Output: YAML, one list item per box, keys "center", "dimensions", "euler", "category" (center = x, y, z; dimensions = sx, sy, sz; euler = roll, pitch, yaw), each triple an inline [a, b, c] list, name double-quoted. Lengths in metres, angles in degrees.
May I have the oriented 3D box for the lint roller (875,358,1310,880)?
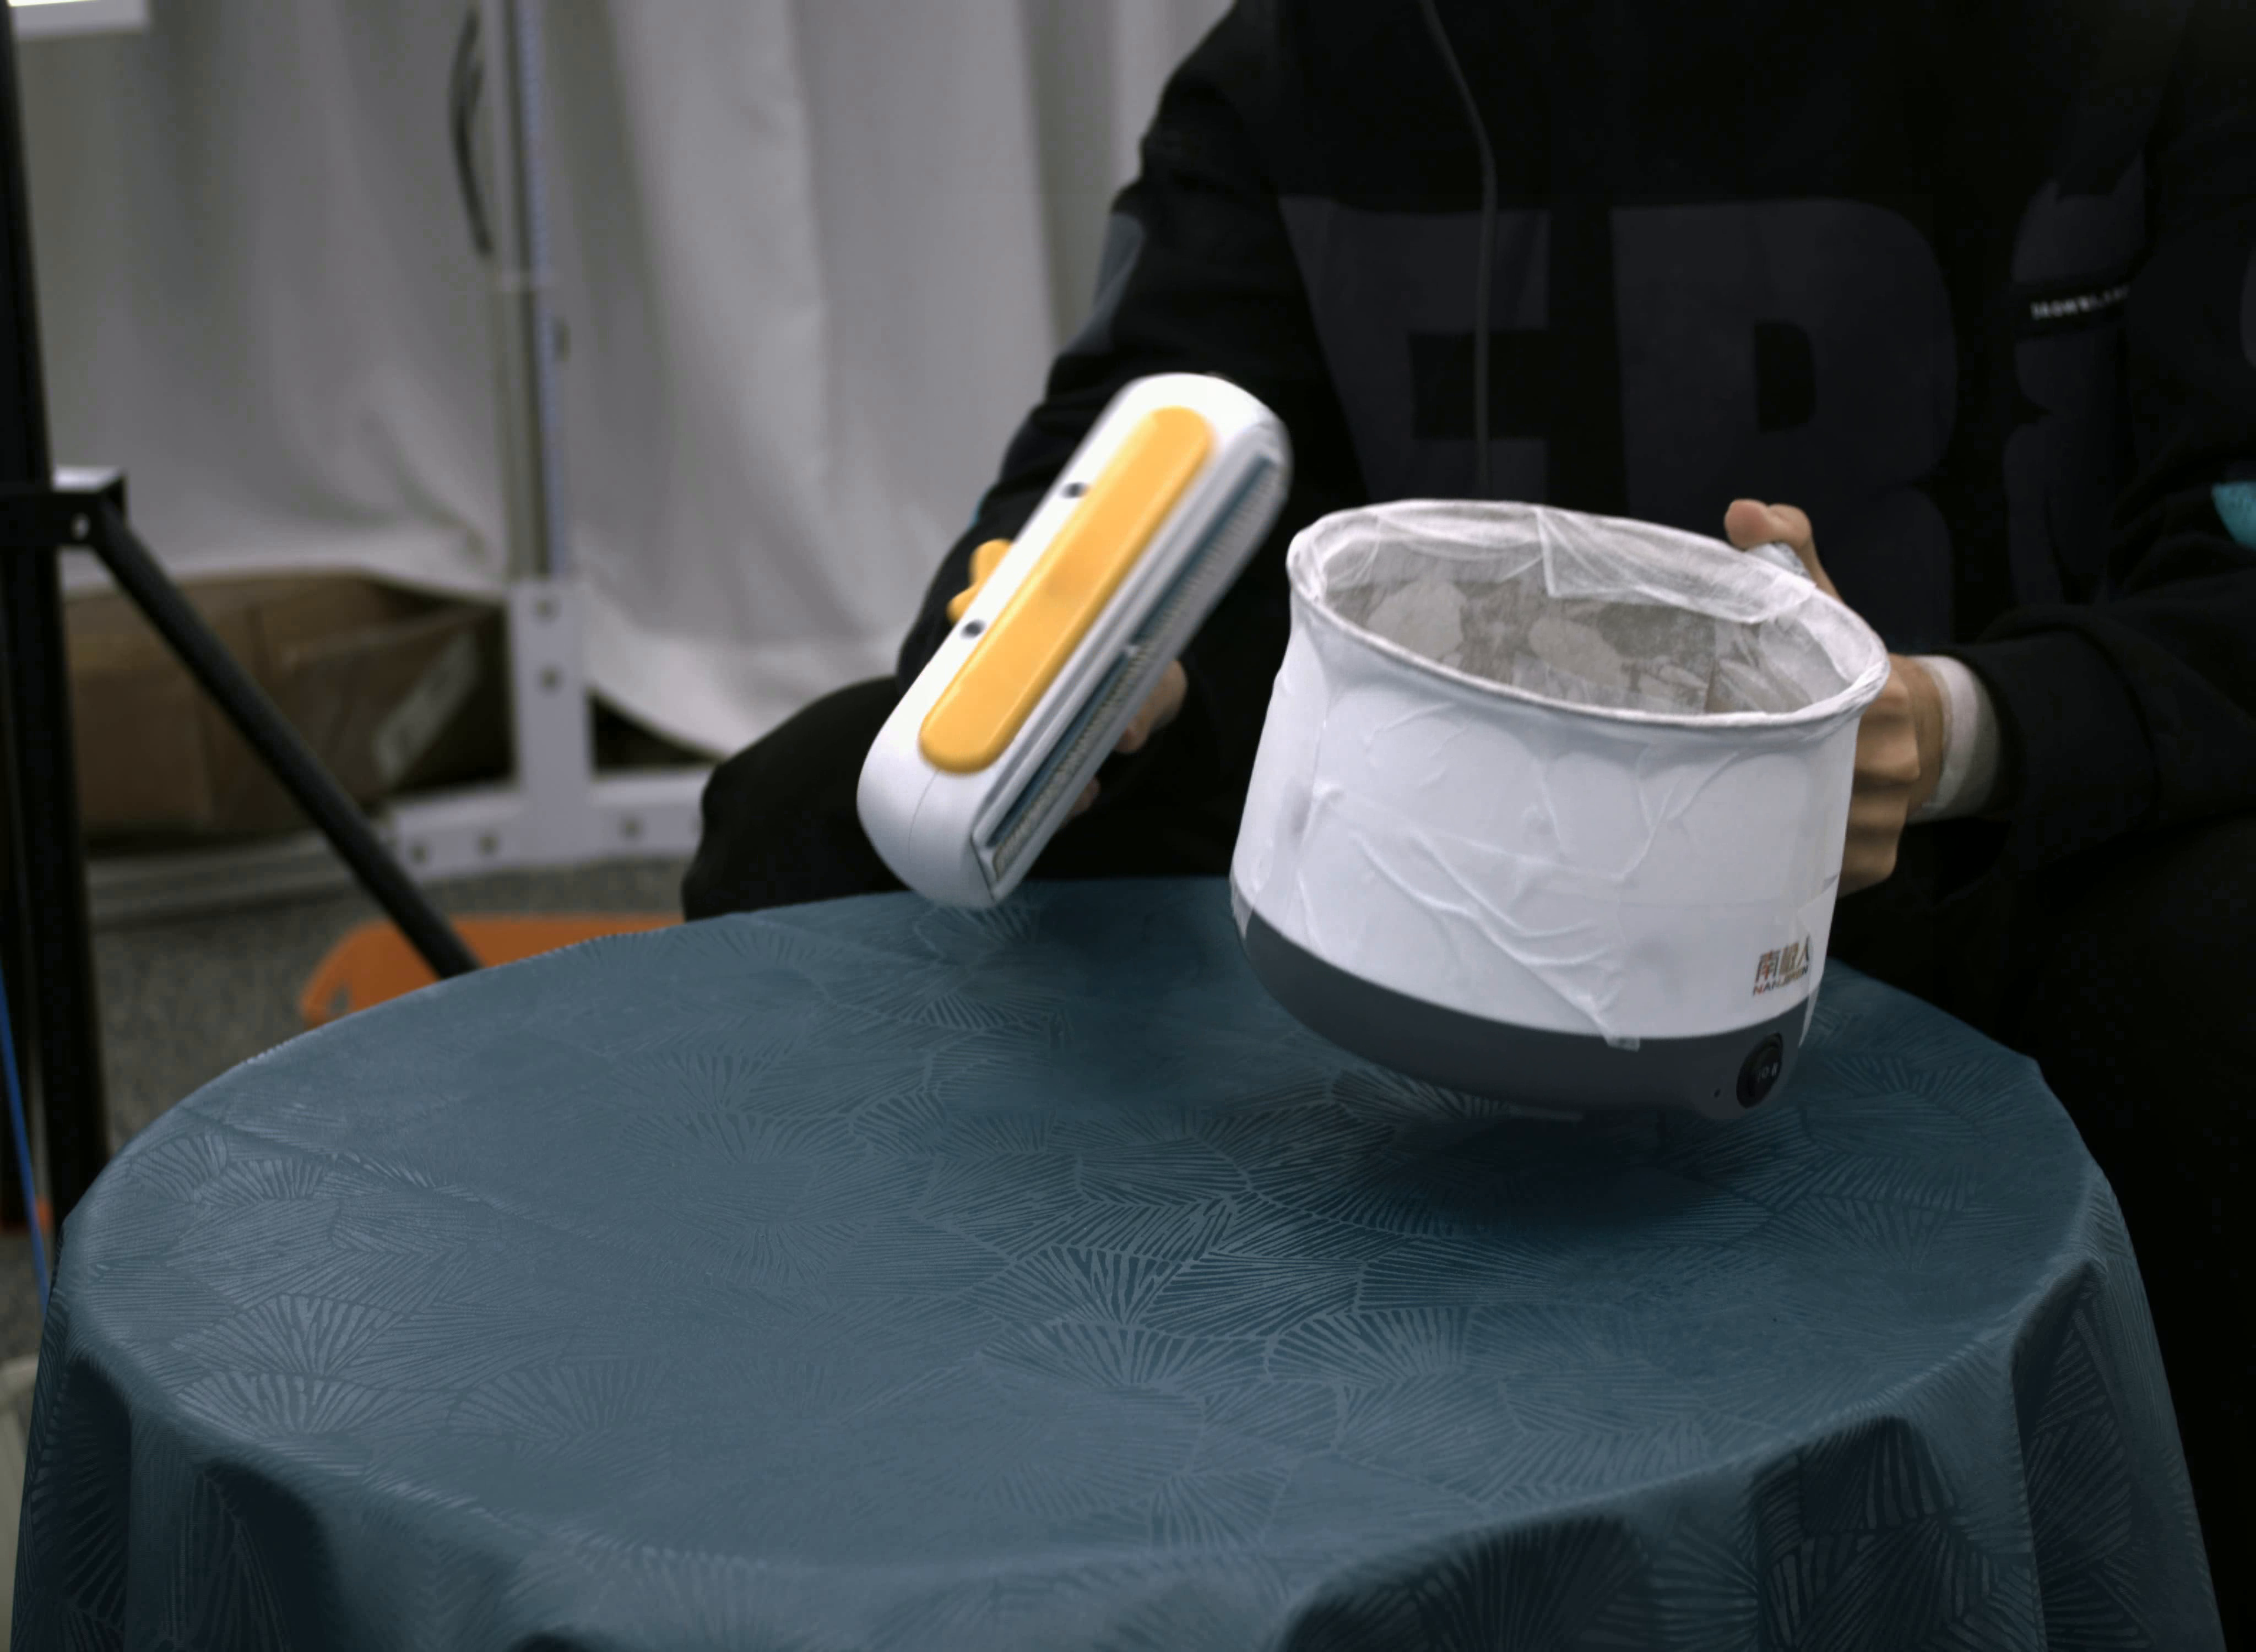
- center: [-0.017, -0.042, 1.732]
  dimensions: [0.075, 0.191, 0.192]
  euler: [28, 65, 13]
  category: "lint roller"

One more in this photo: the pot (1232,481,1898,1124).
- center: [0.140, -0.013, 1.567]
  dimensions: [0.182, 0.137, 0.228]
  euler: [26, 28, 32]
  category: "pot"
